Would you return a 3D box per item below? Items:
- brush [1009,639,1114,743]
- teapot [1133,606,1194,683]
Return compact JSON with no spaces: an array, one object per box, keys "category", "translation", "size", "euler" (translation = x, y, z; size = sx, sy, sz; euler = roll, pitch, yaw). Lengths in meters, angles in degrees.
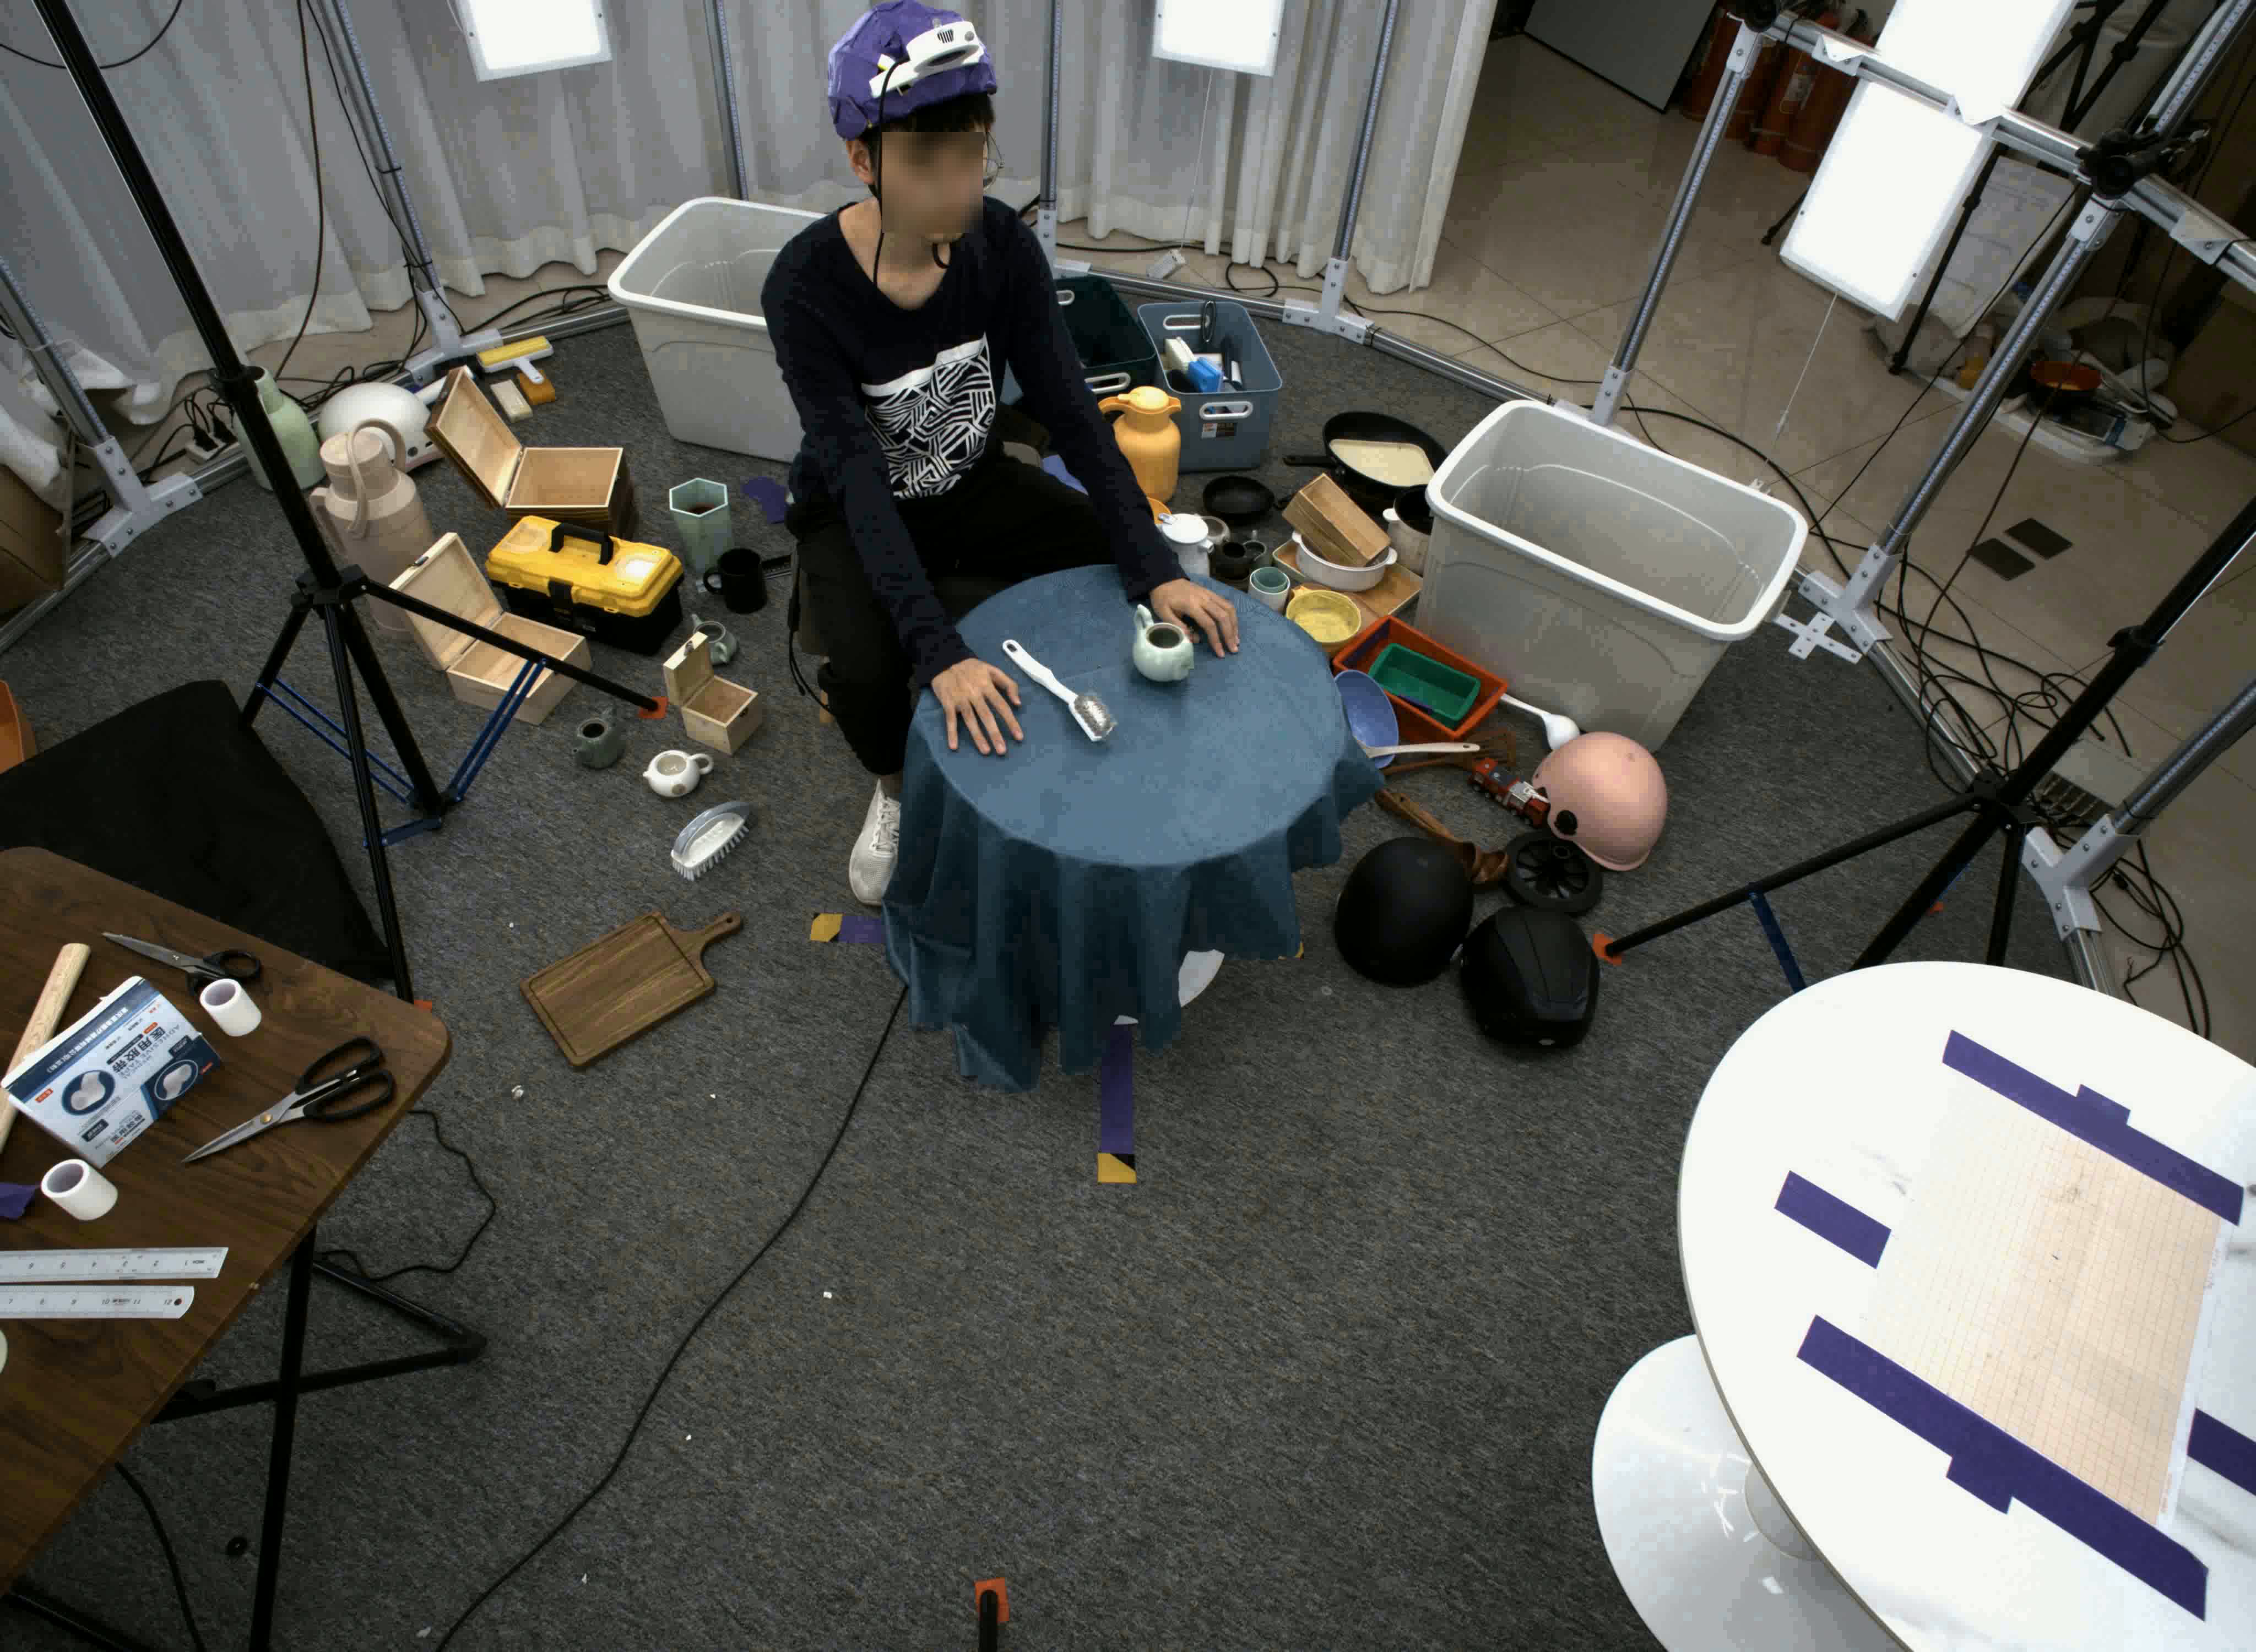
[{"category":"brush","translation":[-0.098,-0.205,1.809],"size":[0.034,0.049,0.248],"euler":[-28,56,-20]},{"category":"teapot","translation":[0.051,-0.249,1.842],"size":[0.088,0.073,0.147],"euler":[-22,55,-19]}]
